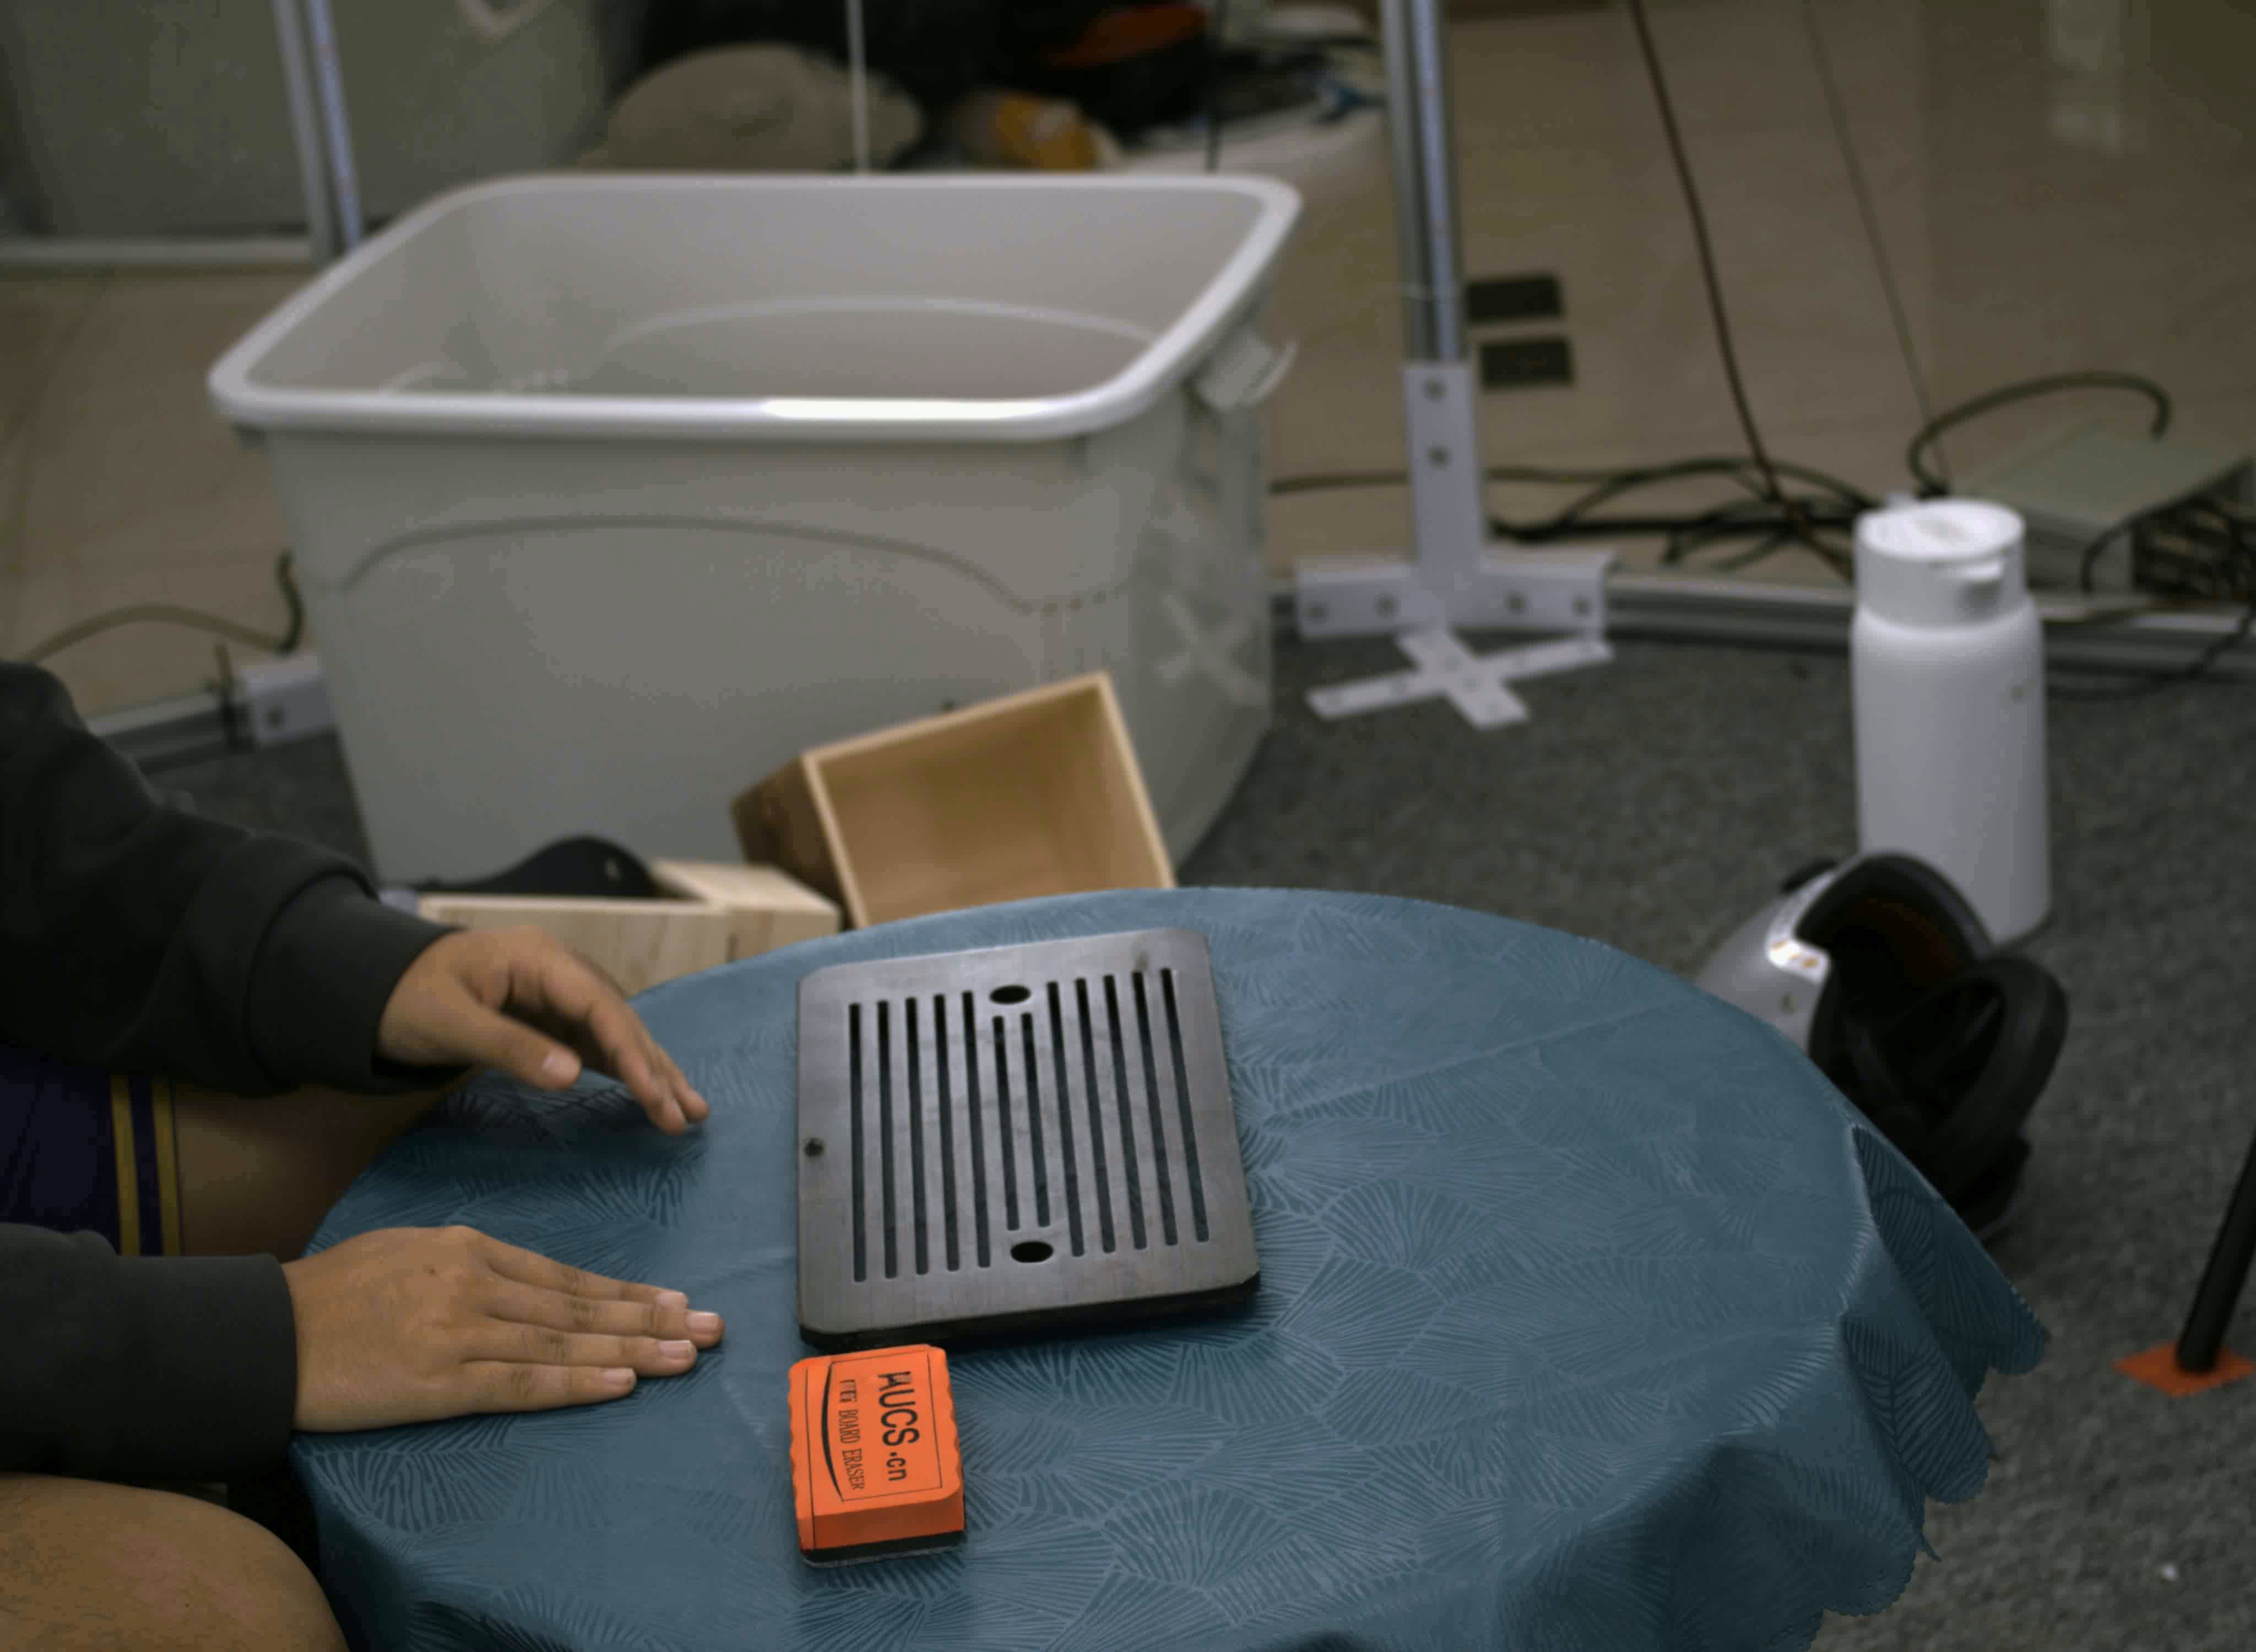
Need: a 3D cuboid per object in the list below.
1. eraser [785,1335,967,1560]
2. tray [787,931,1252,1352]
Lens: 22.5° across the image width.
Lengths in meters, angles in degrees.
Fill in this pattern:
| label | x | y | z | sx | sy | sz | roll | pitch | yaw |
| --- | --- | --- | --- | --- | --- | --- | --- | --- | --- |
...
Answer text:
| label | x | y | z | sx | sy | sz | roll | pitch | yaw |
| --- | --- | --- | --- | --- | --- | --- | --- | --- | --- |
| eraser | -0.088 | 0.215 | 1.970 | 0.059 | 0.023 | 0.106 | -8 | 26 | -2 |
| tray | -0.046 | 0.119 | 2.179 | 0.170 | 0.019 | 0.301 | -6 | 25 | 0 |
